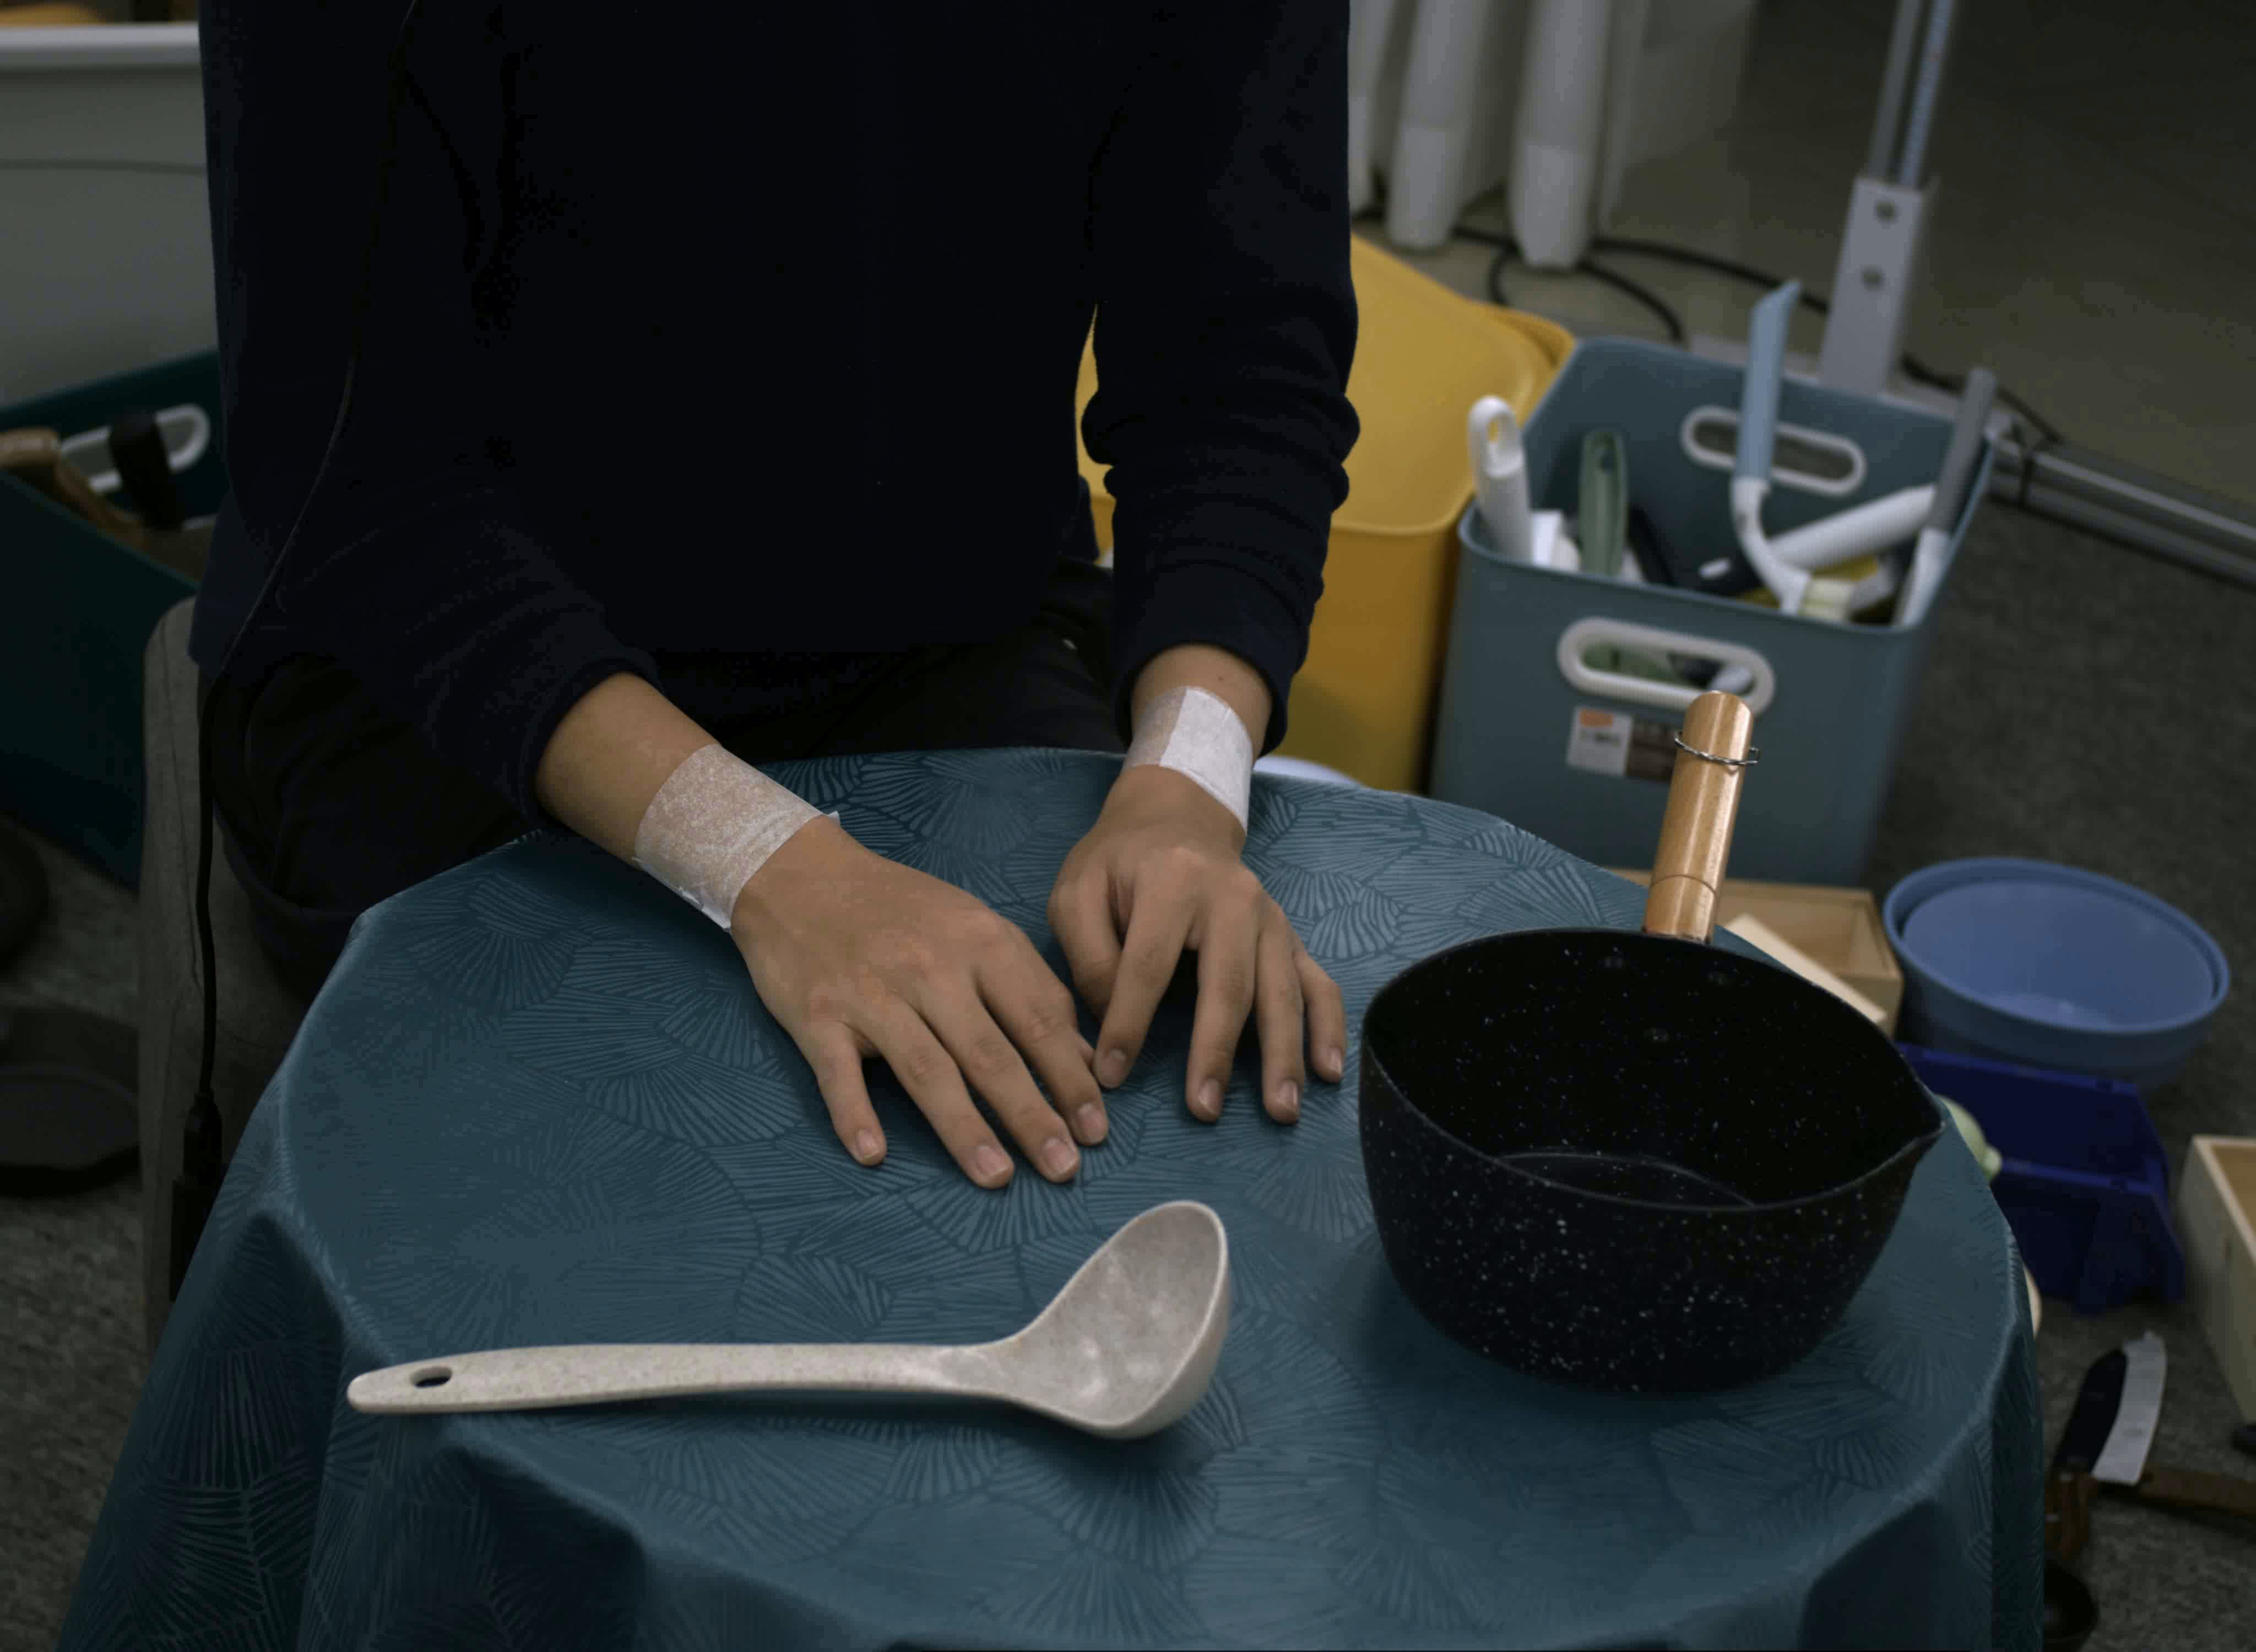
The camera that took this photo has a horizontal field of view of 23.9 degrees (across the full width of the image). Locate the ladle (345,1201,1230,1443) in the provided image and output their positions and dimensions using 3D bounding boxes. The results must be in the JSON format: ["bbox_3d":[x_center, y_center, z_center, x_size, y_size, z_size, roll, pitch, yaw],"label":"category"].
[{"bbox_3d":[-0.105,0.154,1.653,0.273,0.069,0.090,1,36,-7],"label":"ladle"}]

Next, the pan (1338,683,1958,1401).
[{"bbox_3d":[0.181,0.069,1.831,0.207,0.108,0.344,9,28,7],"label":"pan"}]
